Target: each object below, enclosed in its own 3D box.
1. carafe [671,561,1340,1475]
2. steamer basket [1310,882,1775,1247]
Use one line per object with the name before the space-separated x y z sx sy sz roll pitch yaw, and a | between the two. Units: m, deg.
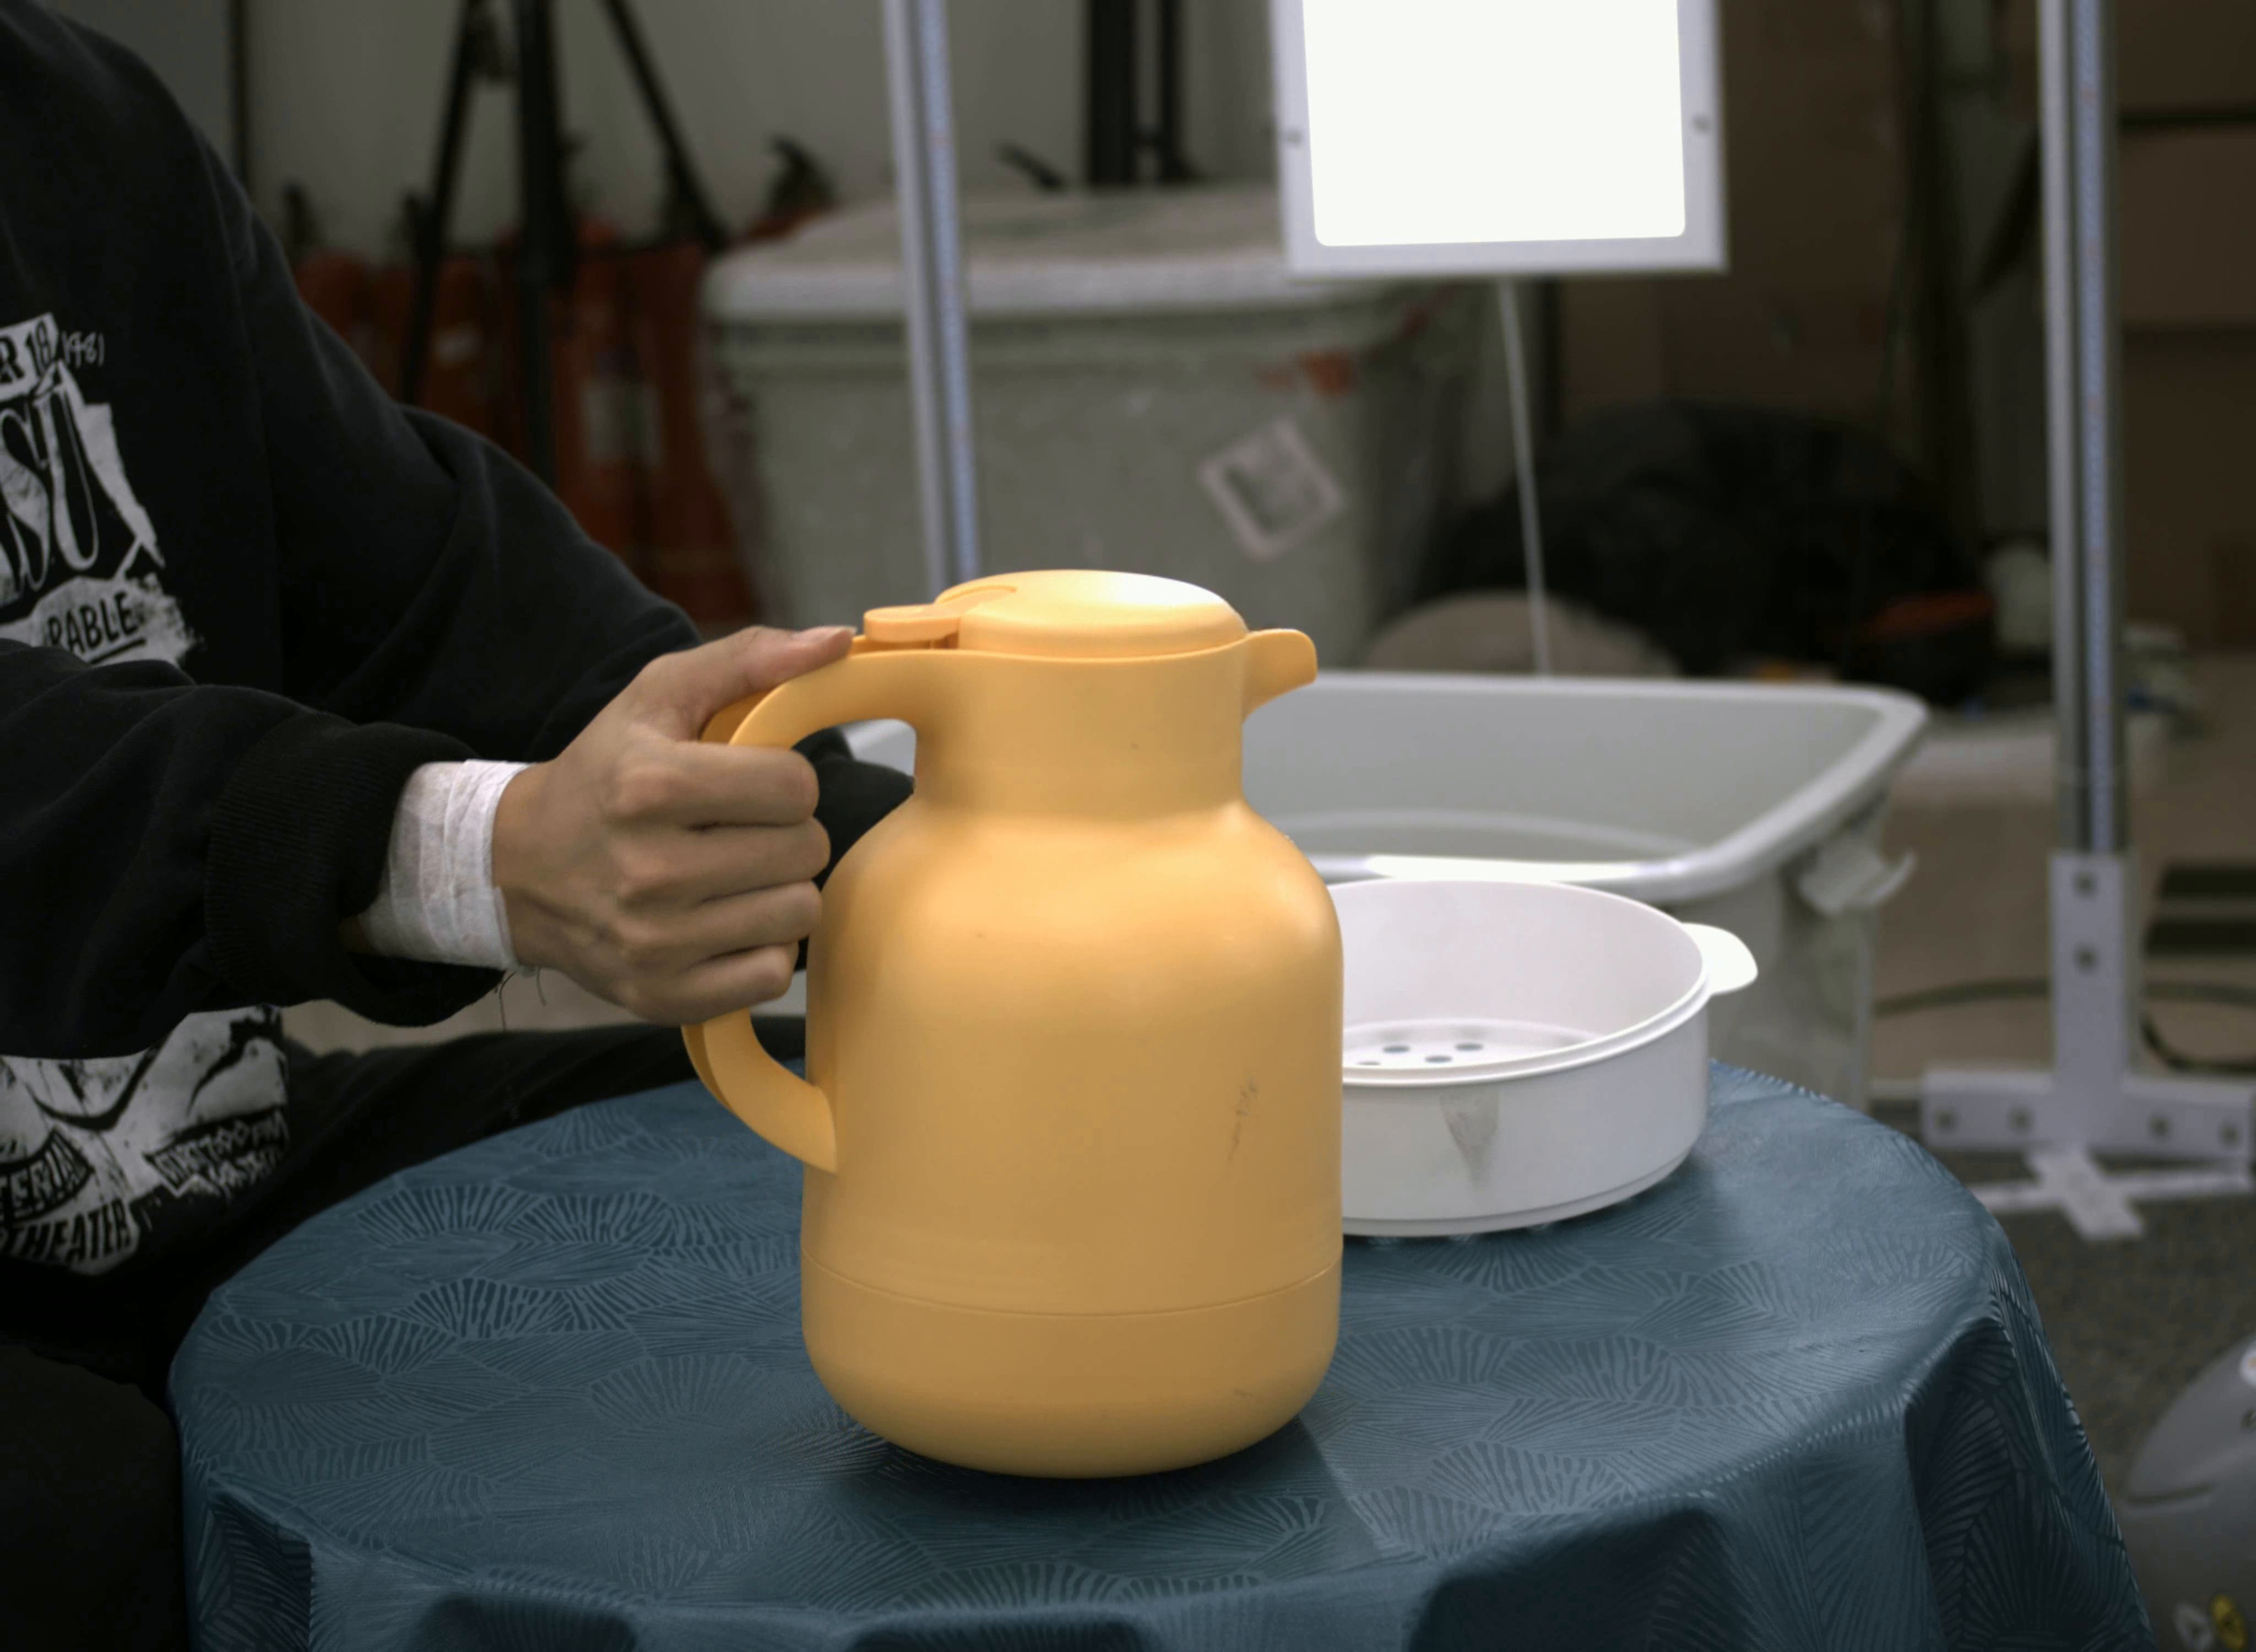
carafe | -0.037 0.053 1.632 0.199 0.261 0.165 -1 10 -17
steamer basket | 0.108 0.082 1.892 0.229 0.069 0.202 -4 18 -3
